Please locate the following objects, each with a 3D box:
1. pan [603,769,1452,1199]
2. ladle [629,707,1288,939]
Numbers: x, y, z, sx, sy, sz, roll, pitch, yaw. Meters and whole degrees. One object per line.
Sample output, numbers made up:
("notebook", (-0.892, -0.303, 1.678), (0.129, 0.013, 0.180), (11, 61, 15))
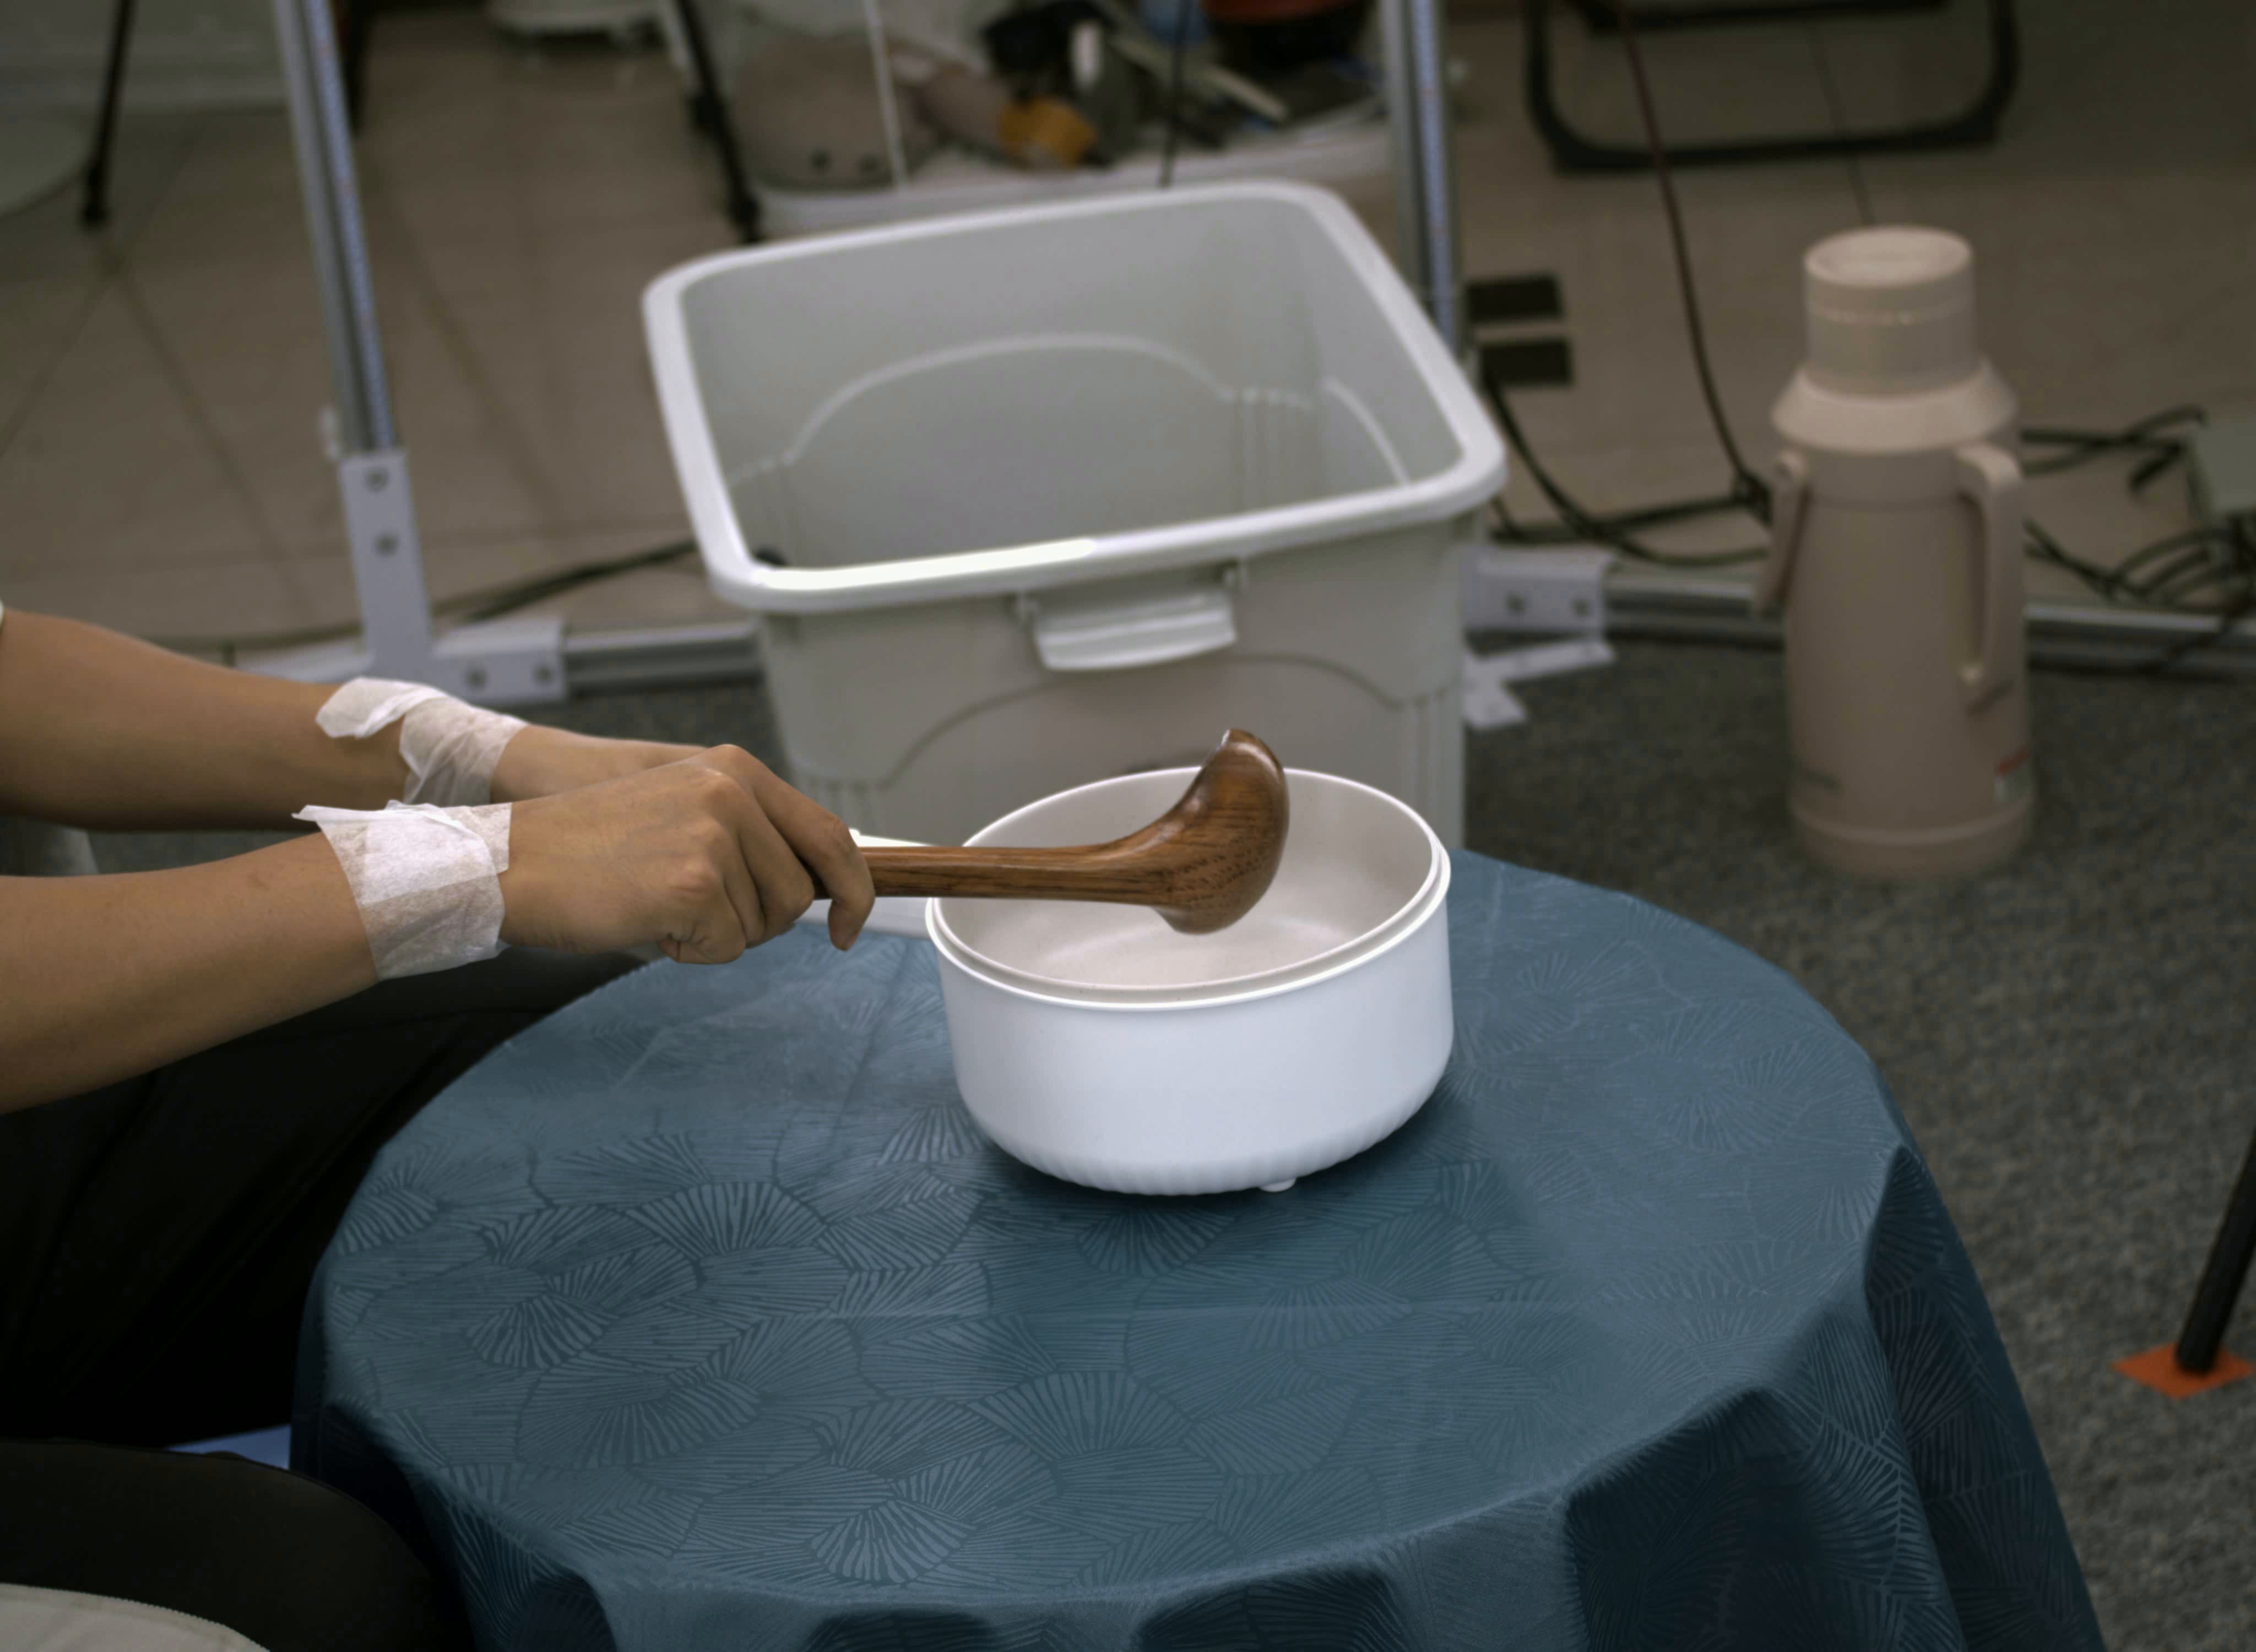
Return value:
("pan", (-0.042, 0.057, 2.219), (0.353, 0.104, 0.198), (6, 29, 26))
("ladle", (-0.062, 0.004, 2.100), (0.273, 0.083, 0.076), (-5, 21, -21))
